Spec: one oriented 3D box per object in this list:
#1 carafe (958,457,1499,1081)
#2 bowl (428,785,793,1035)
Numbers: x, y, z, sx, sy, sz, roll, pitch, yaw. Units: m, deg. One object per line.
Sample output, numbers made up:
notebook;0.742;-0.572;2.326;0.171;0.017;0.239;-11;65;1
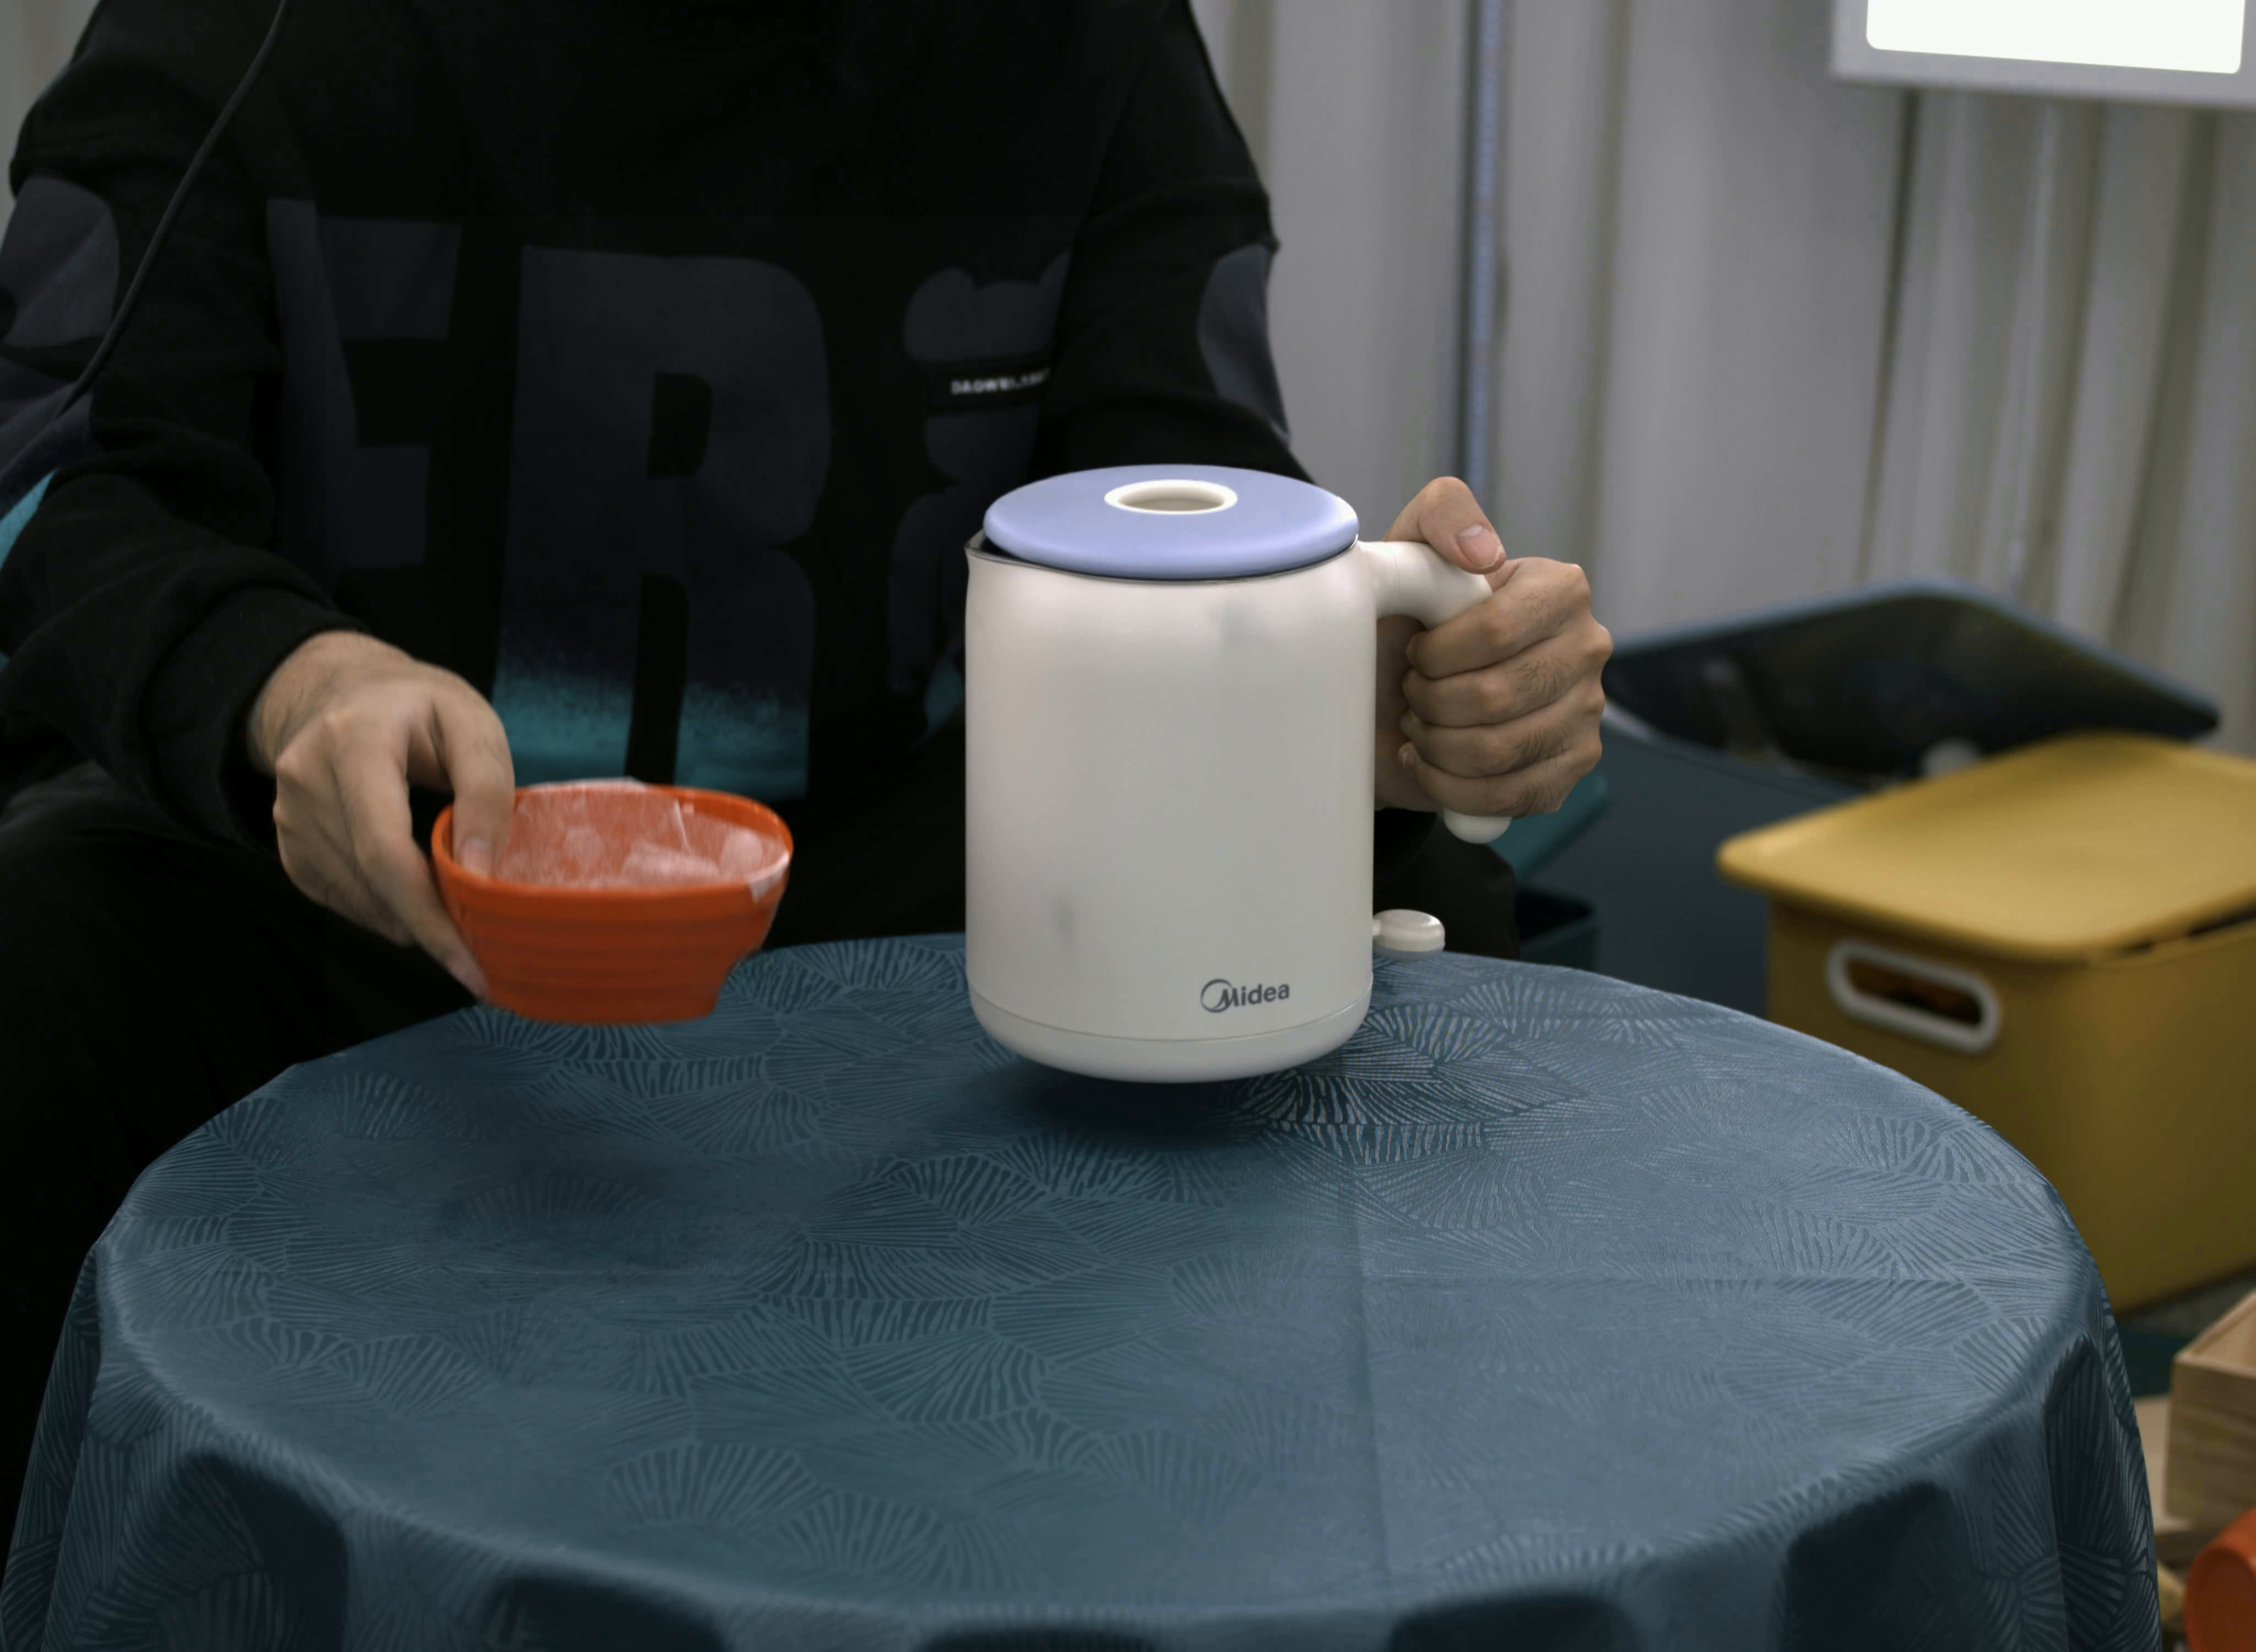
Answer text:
carafe;0.035;-0.021;1.687;0.192;0.184;0.130;-5;20;-23
bowl;-0.157;0.028;1.601;0.118;0.052;0.118;2;19;0
